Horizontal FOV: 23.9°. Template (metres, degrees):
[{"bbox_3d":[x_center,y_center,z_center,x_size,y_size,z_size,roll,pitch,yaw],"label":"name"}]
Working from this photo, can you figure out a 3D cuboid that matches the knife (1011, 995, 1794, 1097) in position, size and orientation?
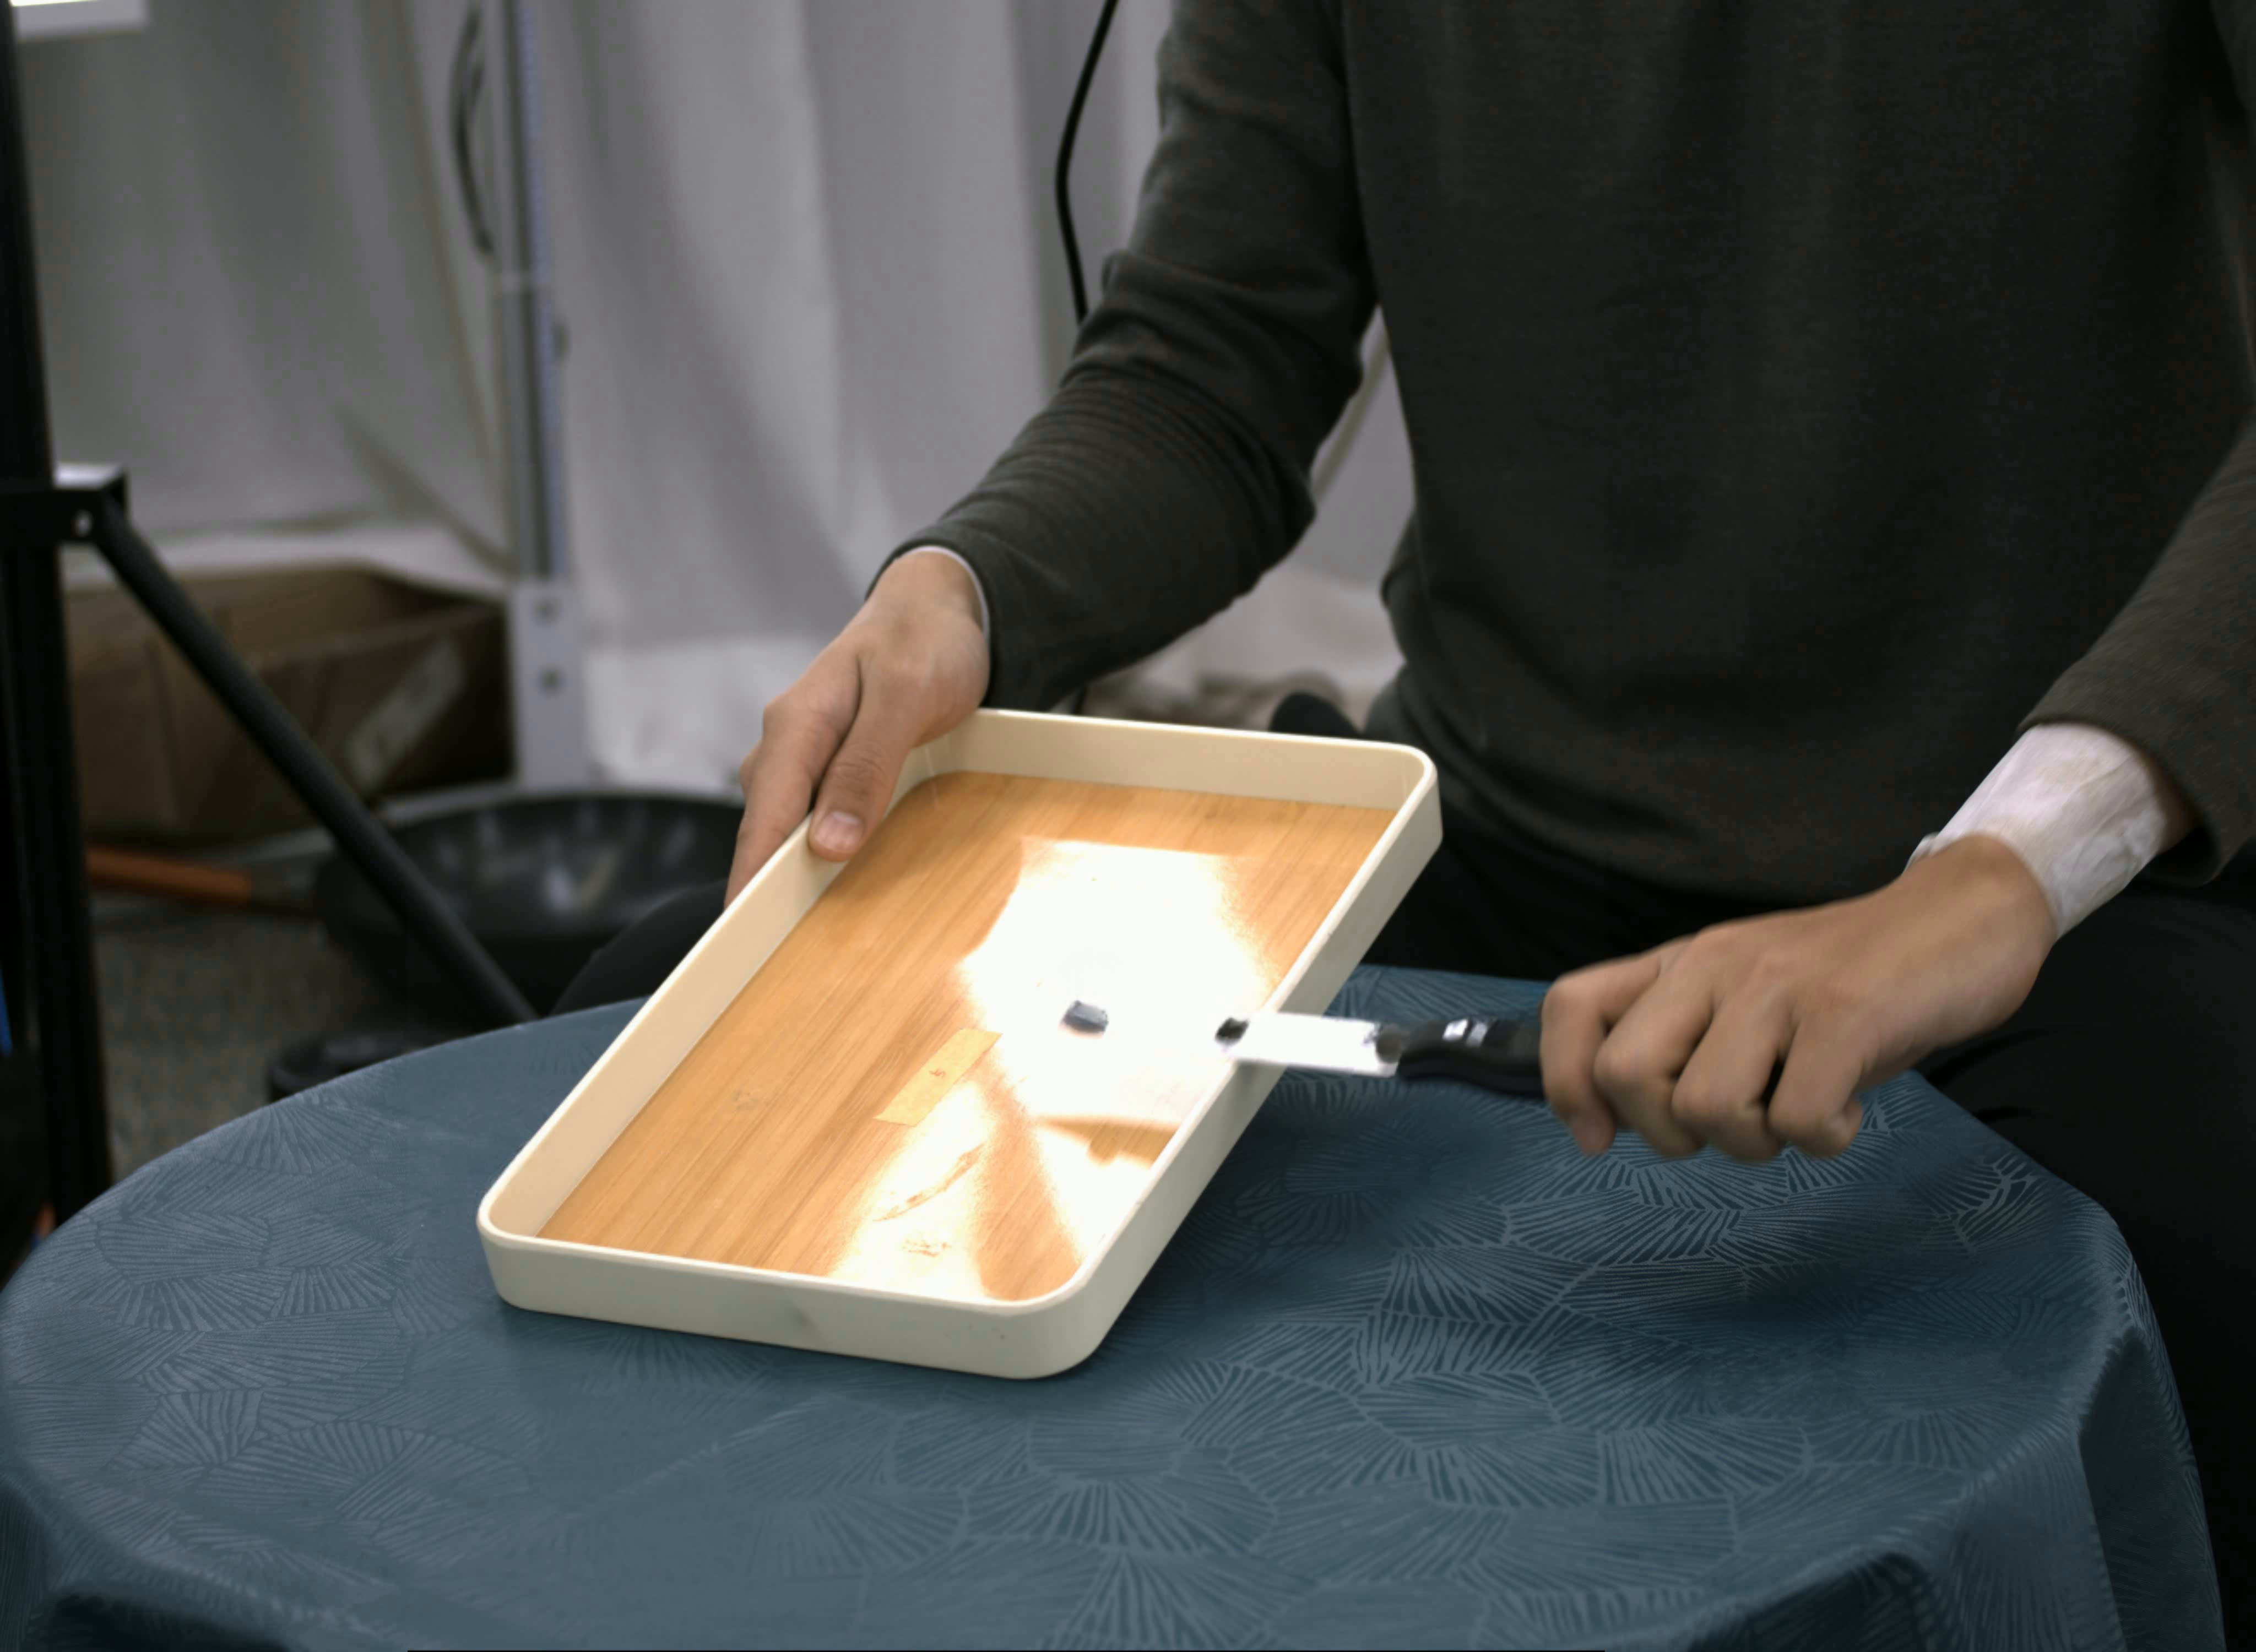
[{"bbox_3d":[0.075,0.058,1.489,0.242,0.016,0.024,4,31,27],"label":"knife"}]

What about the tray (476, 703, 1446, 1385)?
[{"bbox_3d":[-0.042,0.056,1.561,0.194,0.027,0.298,6,34,26],"label":"tray"}]
